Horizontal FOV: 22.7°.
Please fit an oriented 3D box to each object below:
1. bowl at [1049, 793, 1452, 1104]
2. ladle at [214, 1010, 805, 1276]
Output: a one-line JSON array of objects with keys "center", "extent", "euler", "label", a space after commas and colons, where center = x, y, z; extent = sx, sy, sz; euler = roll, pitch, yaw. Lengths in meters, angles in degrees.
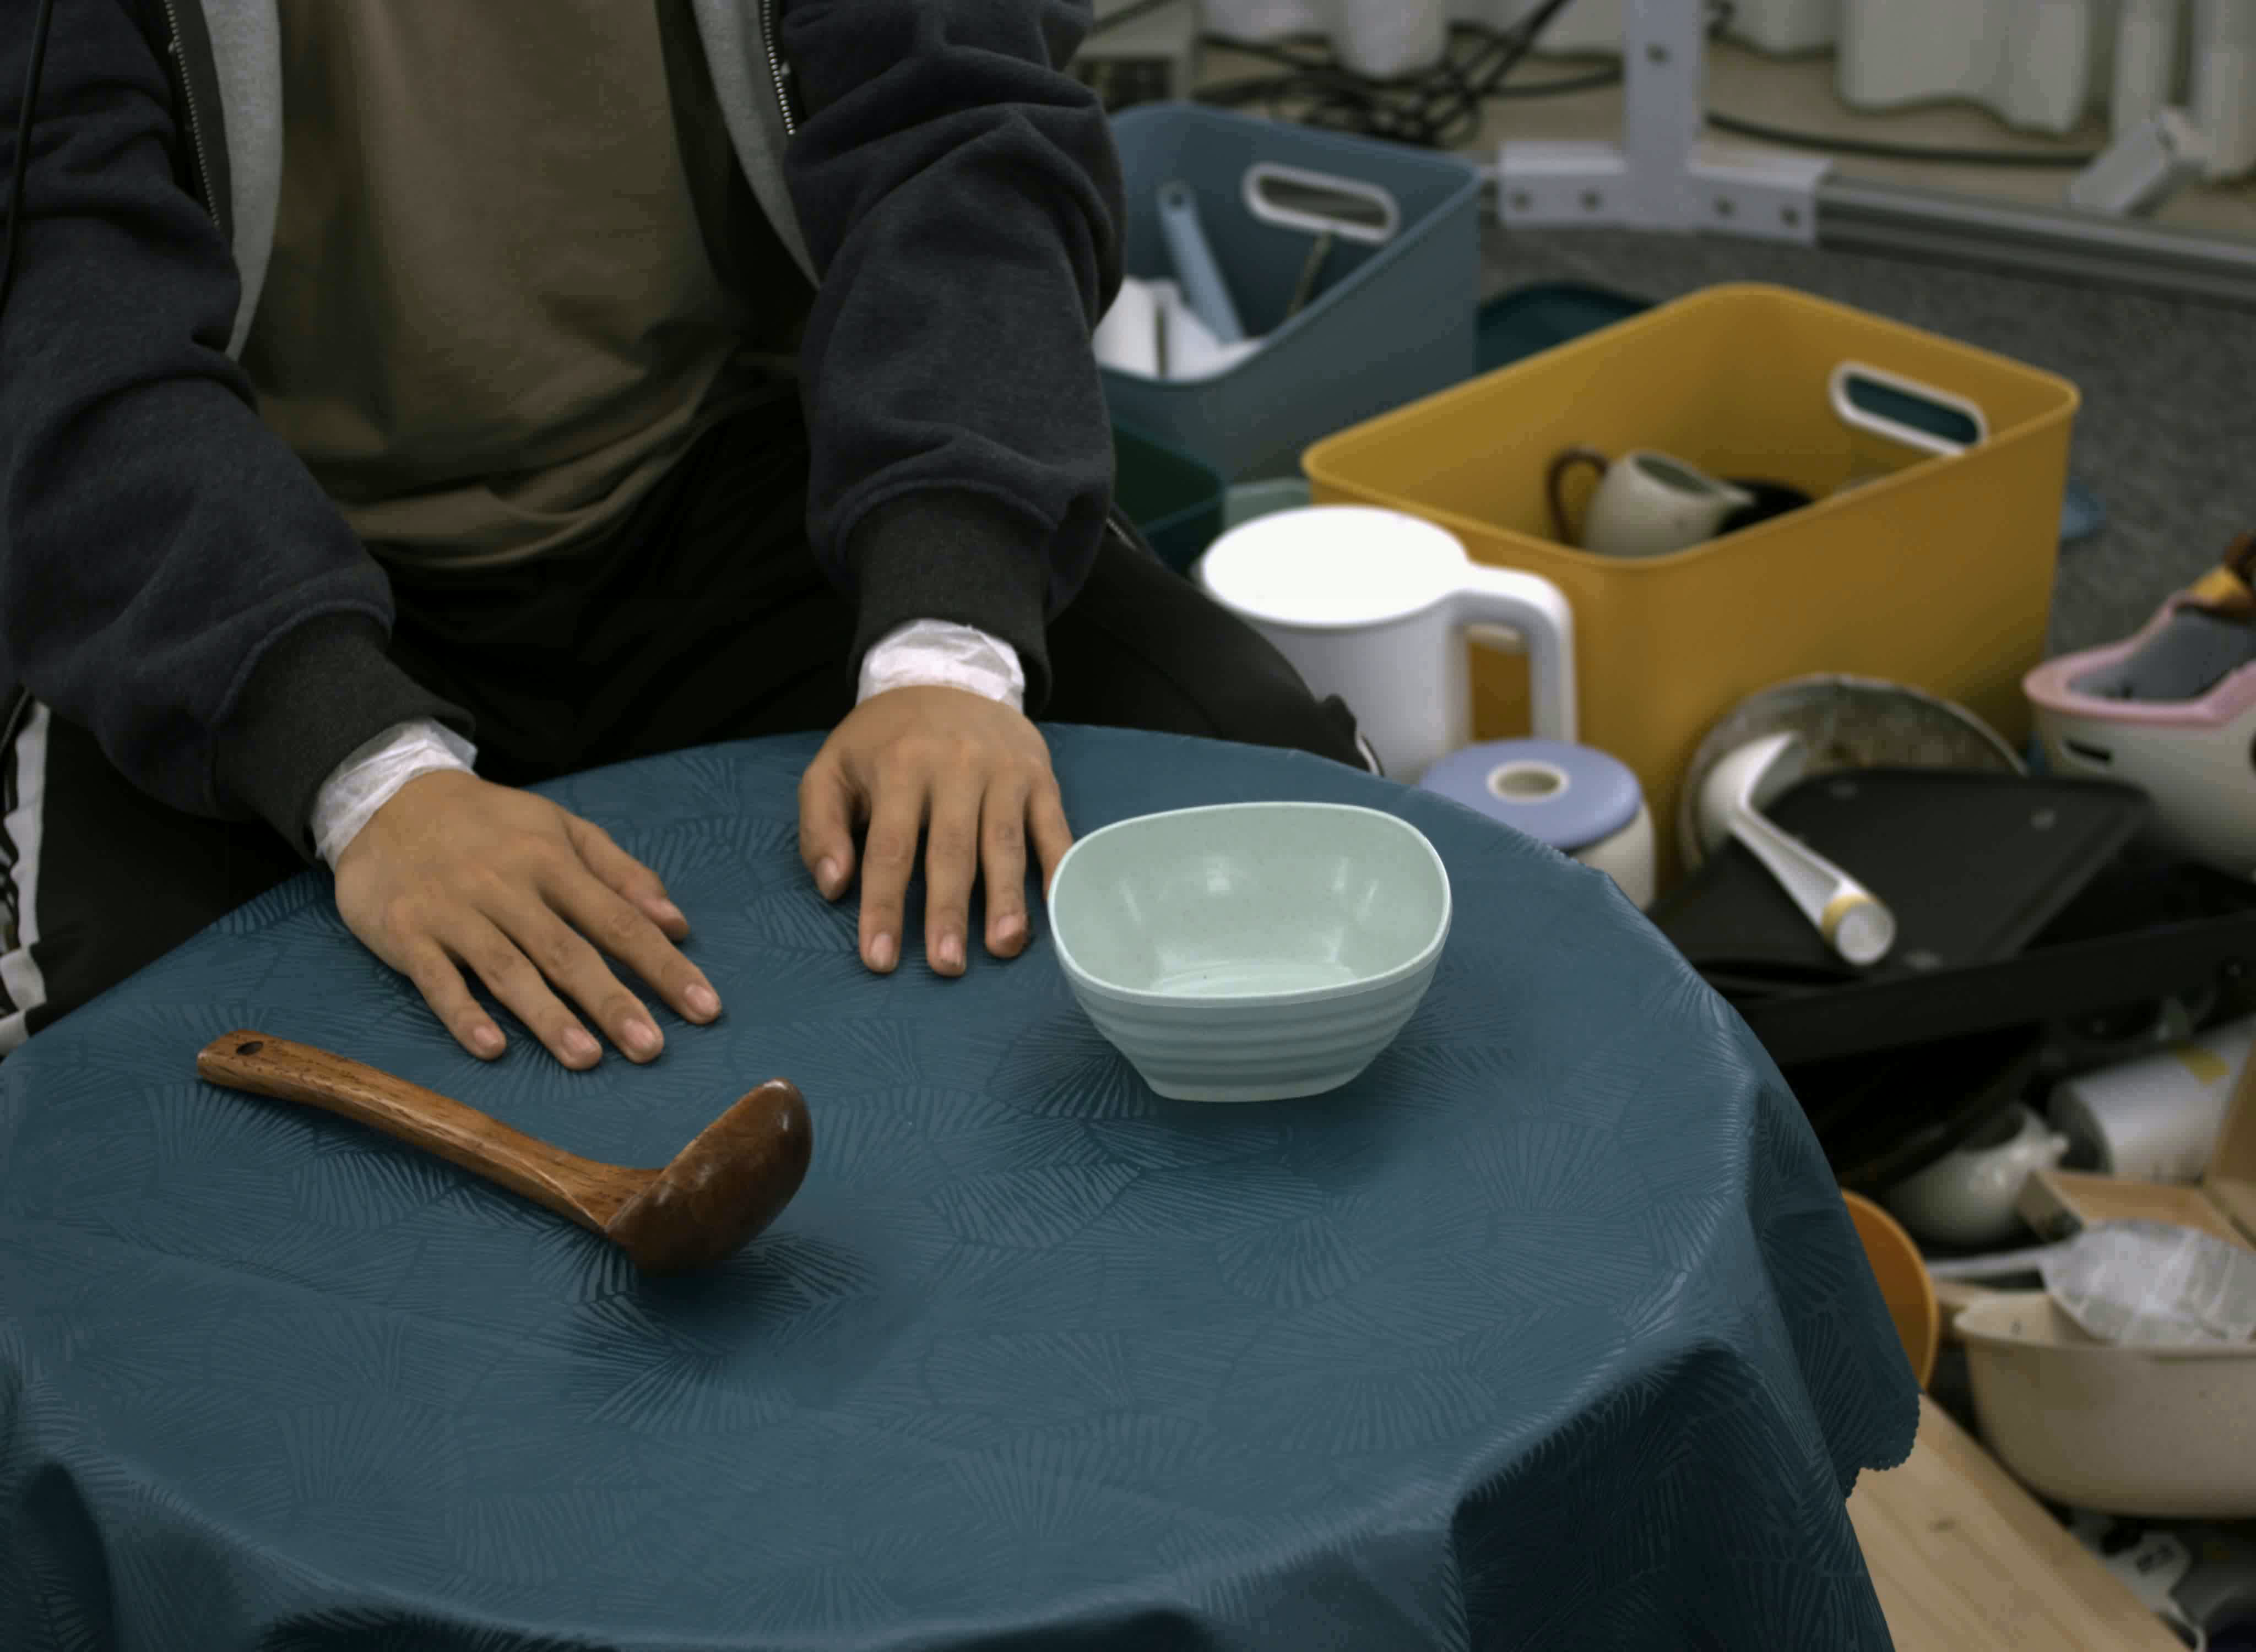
[{"center": [0.043, 0.048, 1.936], "extent": [0.151, 0.058, 0.154], "euler": [-2, 30, 2], "label": "bowl"}, {"center": [-0.217, 0.085, 1.869], "extent": [0.273, 0.076, 0.083], "euler": [20, 39, 37], "label": "ladle"}]
